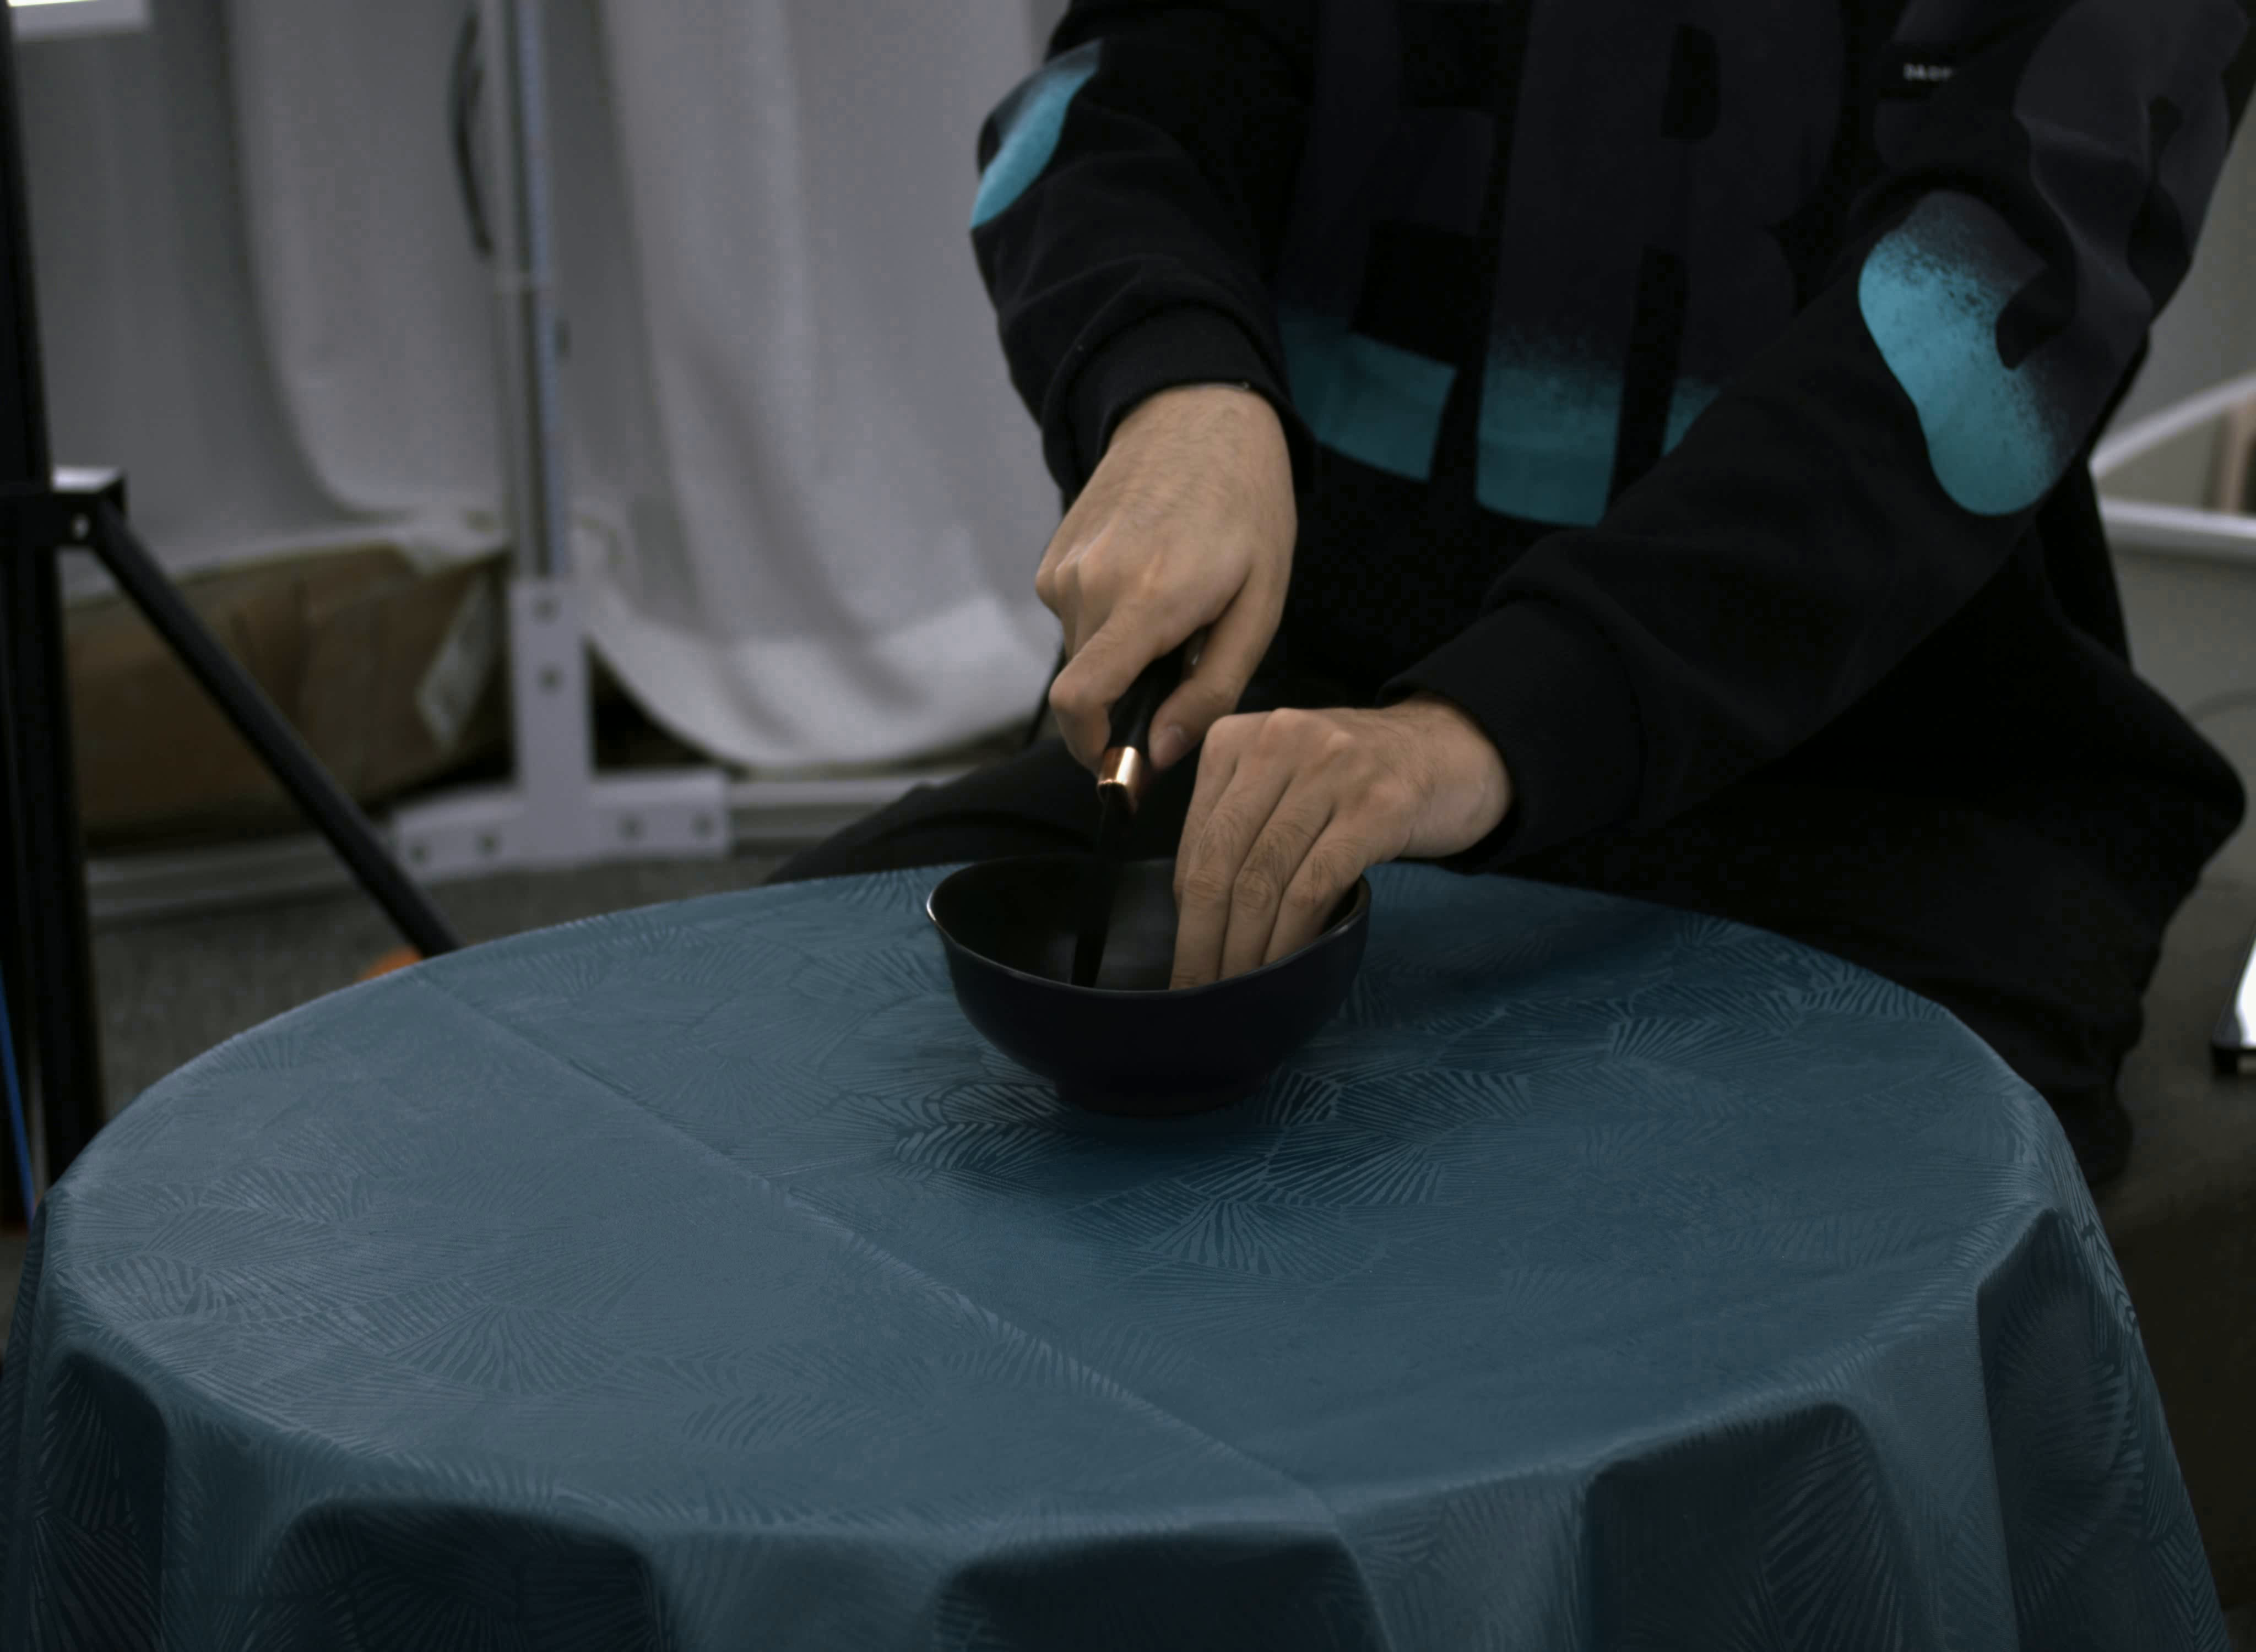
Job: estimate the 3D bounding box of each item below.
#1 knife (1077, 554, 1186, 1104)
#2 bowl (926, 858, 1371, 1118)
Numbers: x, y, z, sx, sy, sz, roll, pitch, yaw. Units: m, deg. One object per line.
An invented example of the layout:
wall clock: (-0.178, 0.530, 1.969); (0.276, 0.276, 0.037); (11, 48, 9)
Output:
knife: (-0.002, -0.002, 1.692); (0.017, 0.026, 0.227); (-12, 44, 22)
bowl: (0.008, 0.051, 1.641); (0.137, 0.067, 0.170); (-1, 14, 4)
